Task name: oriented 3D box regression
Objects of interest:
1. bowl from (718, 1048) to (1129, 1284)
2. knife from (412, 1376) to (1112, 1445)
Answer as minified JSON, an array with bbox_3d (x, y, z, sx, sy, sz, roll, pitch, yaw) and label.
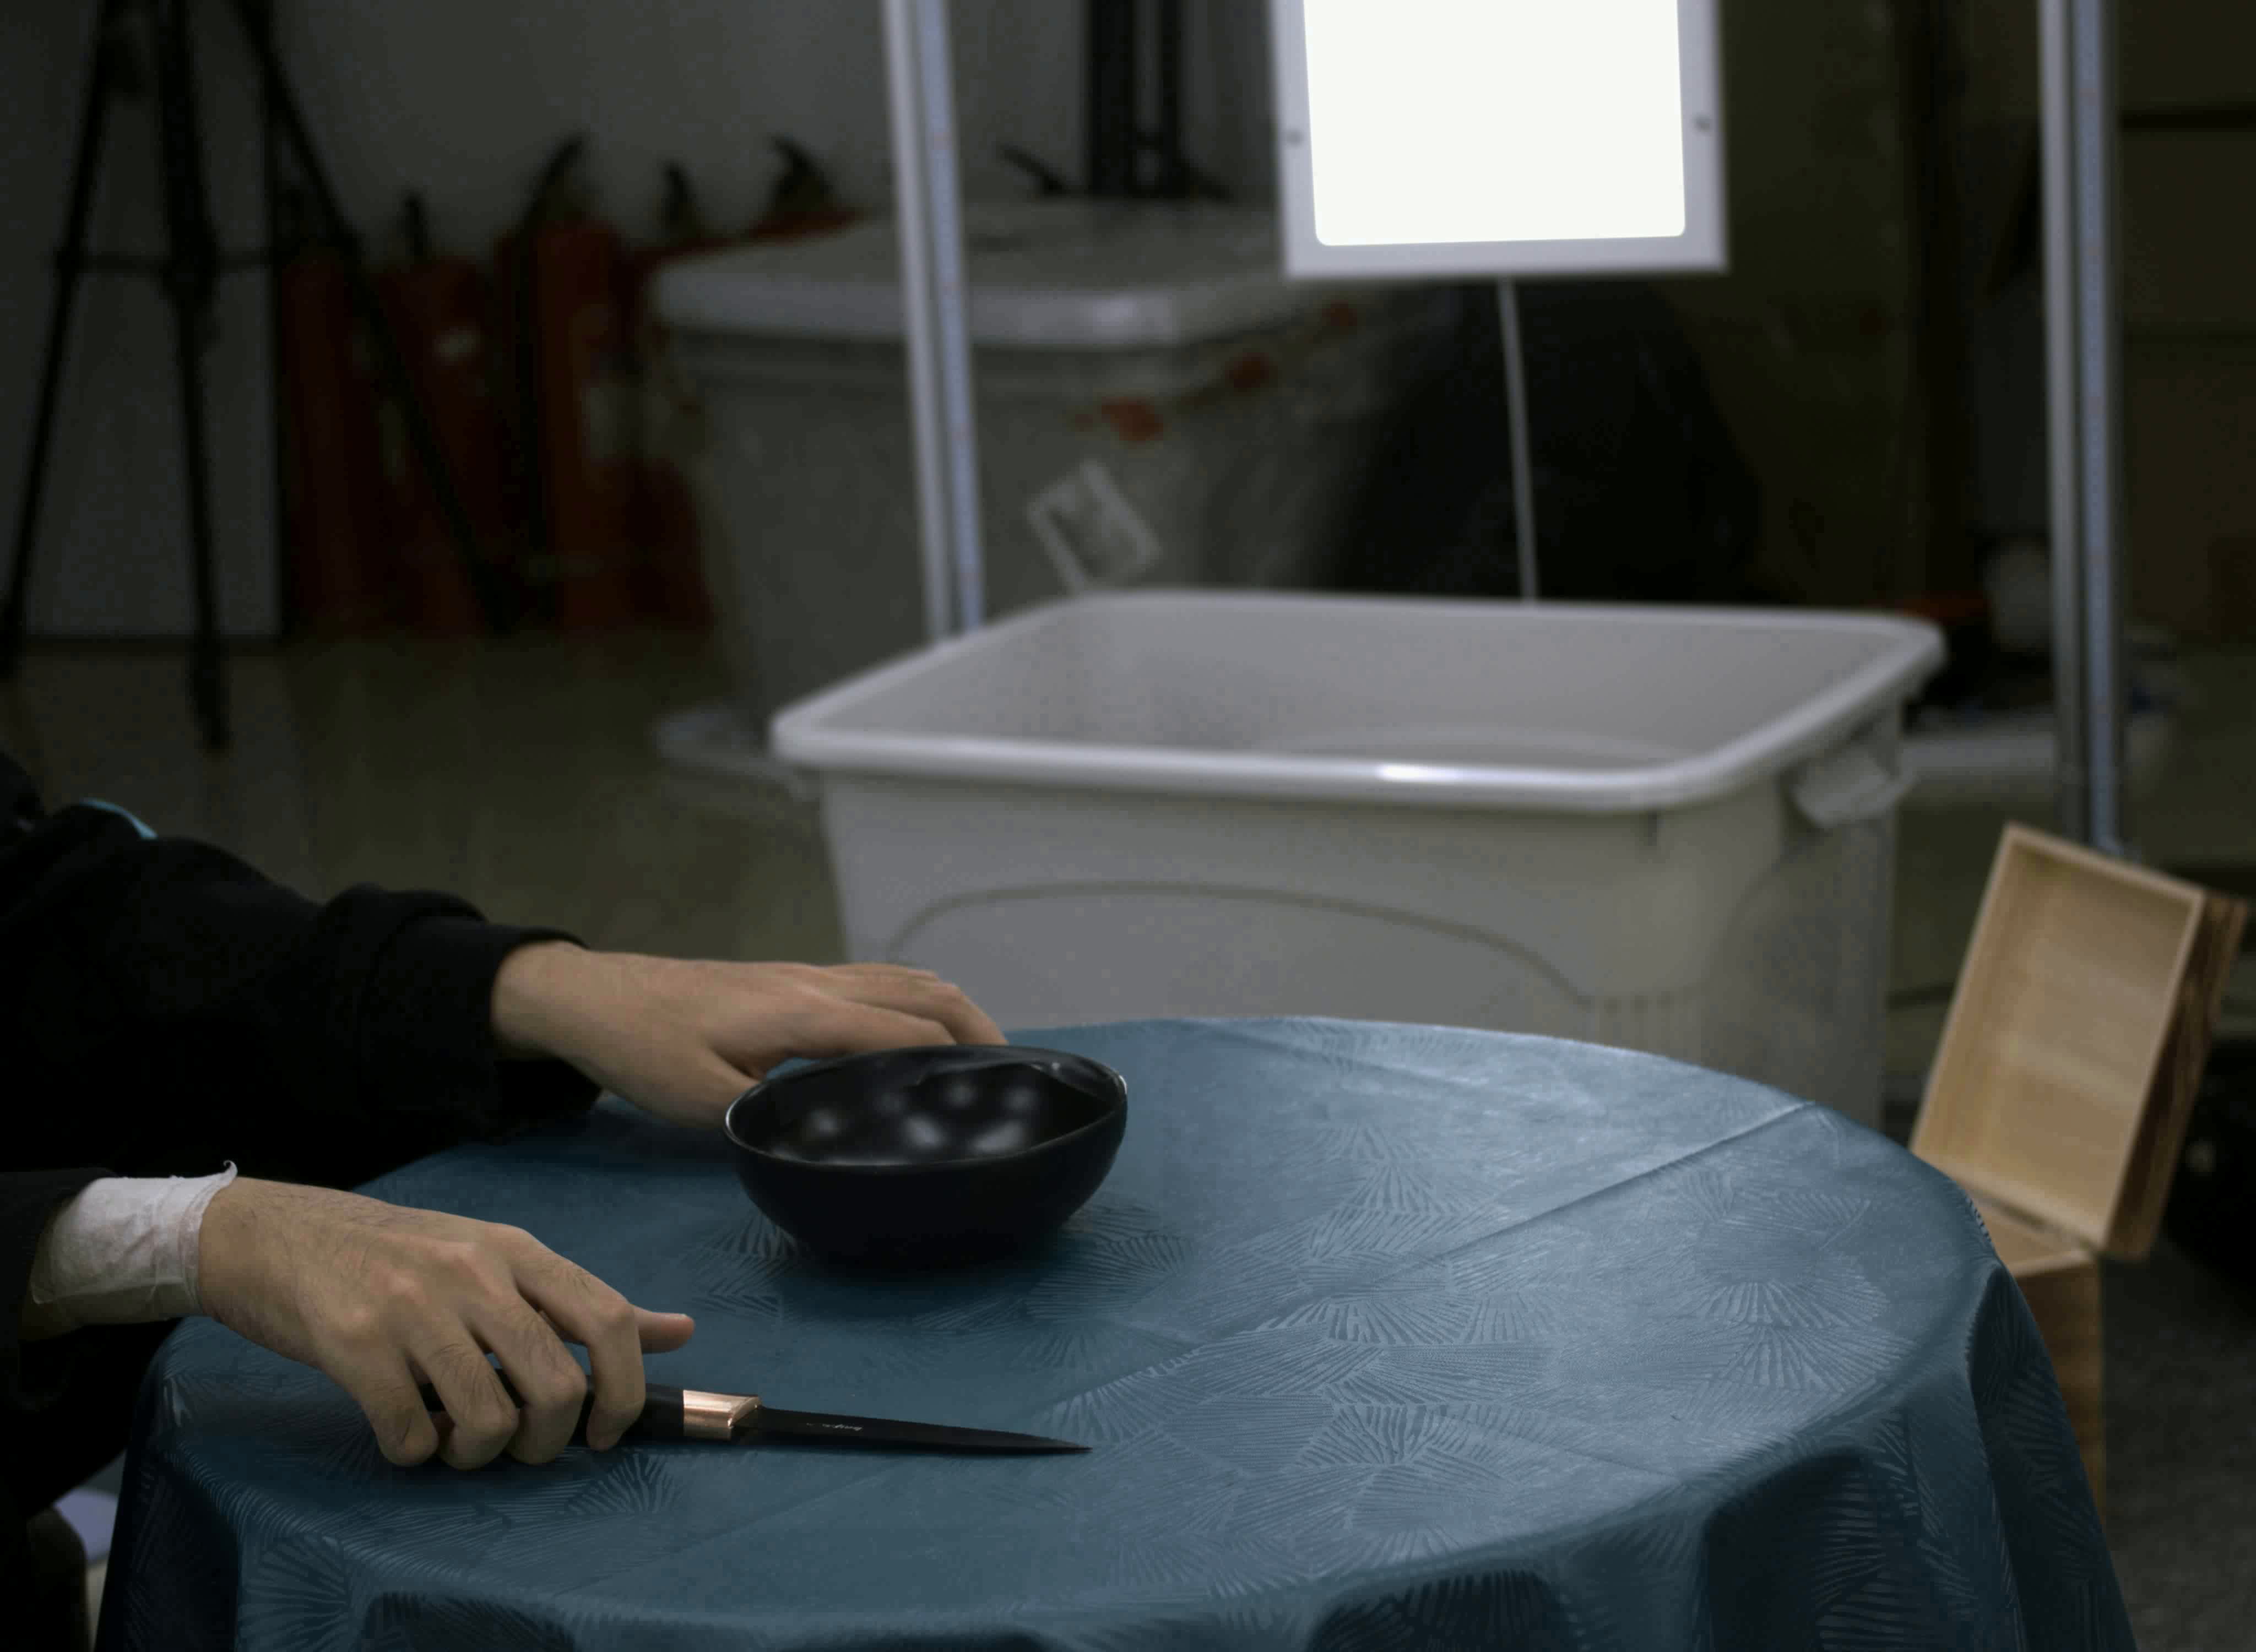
[{"bbox_3d":[-0.066,0.119,1.859,0.140,0.050,0.140,-9,14,1],"label":"bowl"},{"bbox_3d":[-0.114,0.181,1.693,0.228,0.017,0.026,1,12,19],"label":"knife"}]
